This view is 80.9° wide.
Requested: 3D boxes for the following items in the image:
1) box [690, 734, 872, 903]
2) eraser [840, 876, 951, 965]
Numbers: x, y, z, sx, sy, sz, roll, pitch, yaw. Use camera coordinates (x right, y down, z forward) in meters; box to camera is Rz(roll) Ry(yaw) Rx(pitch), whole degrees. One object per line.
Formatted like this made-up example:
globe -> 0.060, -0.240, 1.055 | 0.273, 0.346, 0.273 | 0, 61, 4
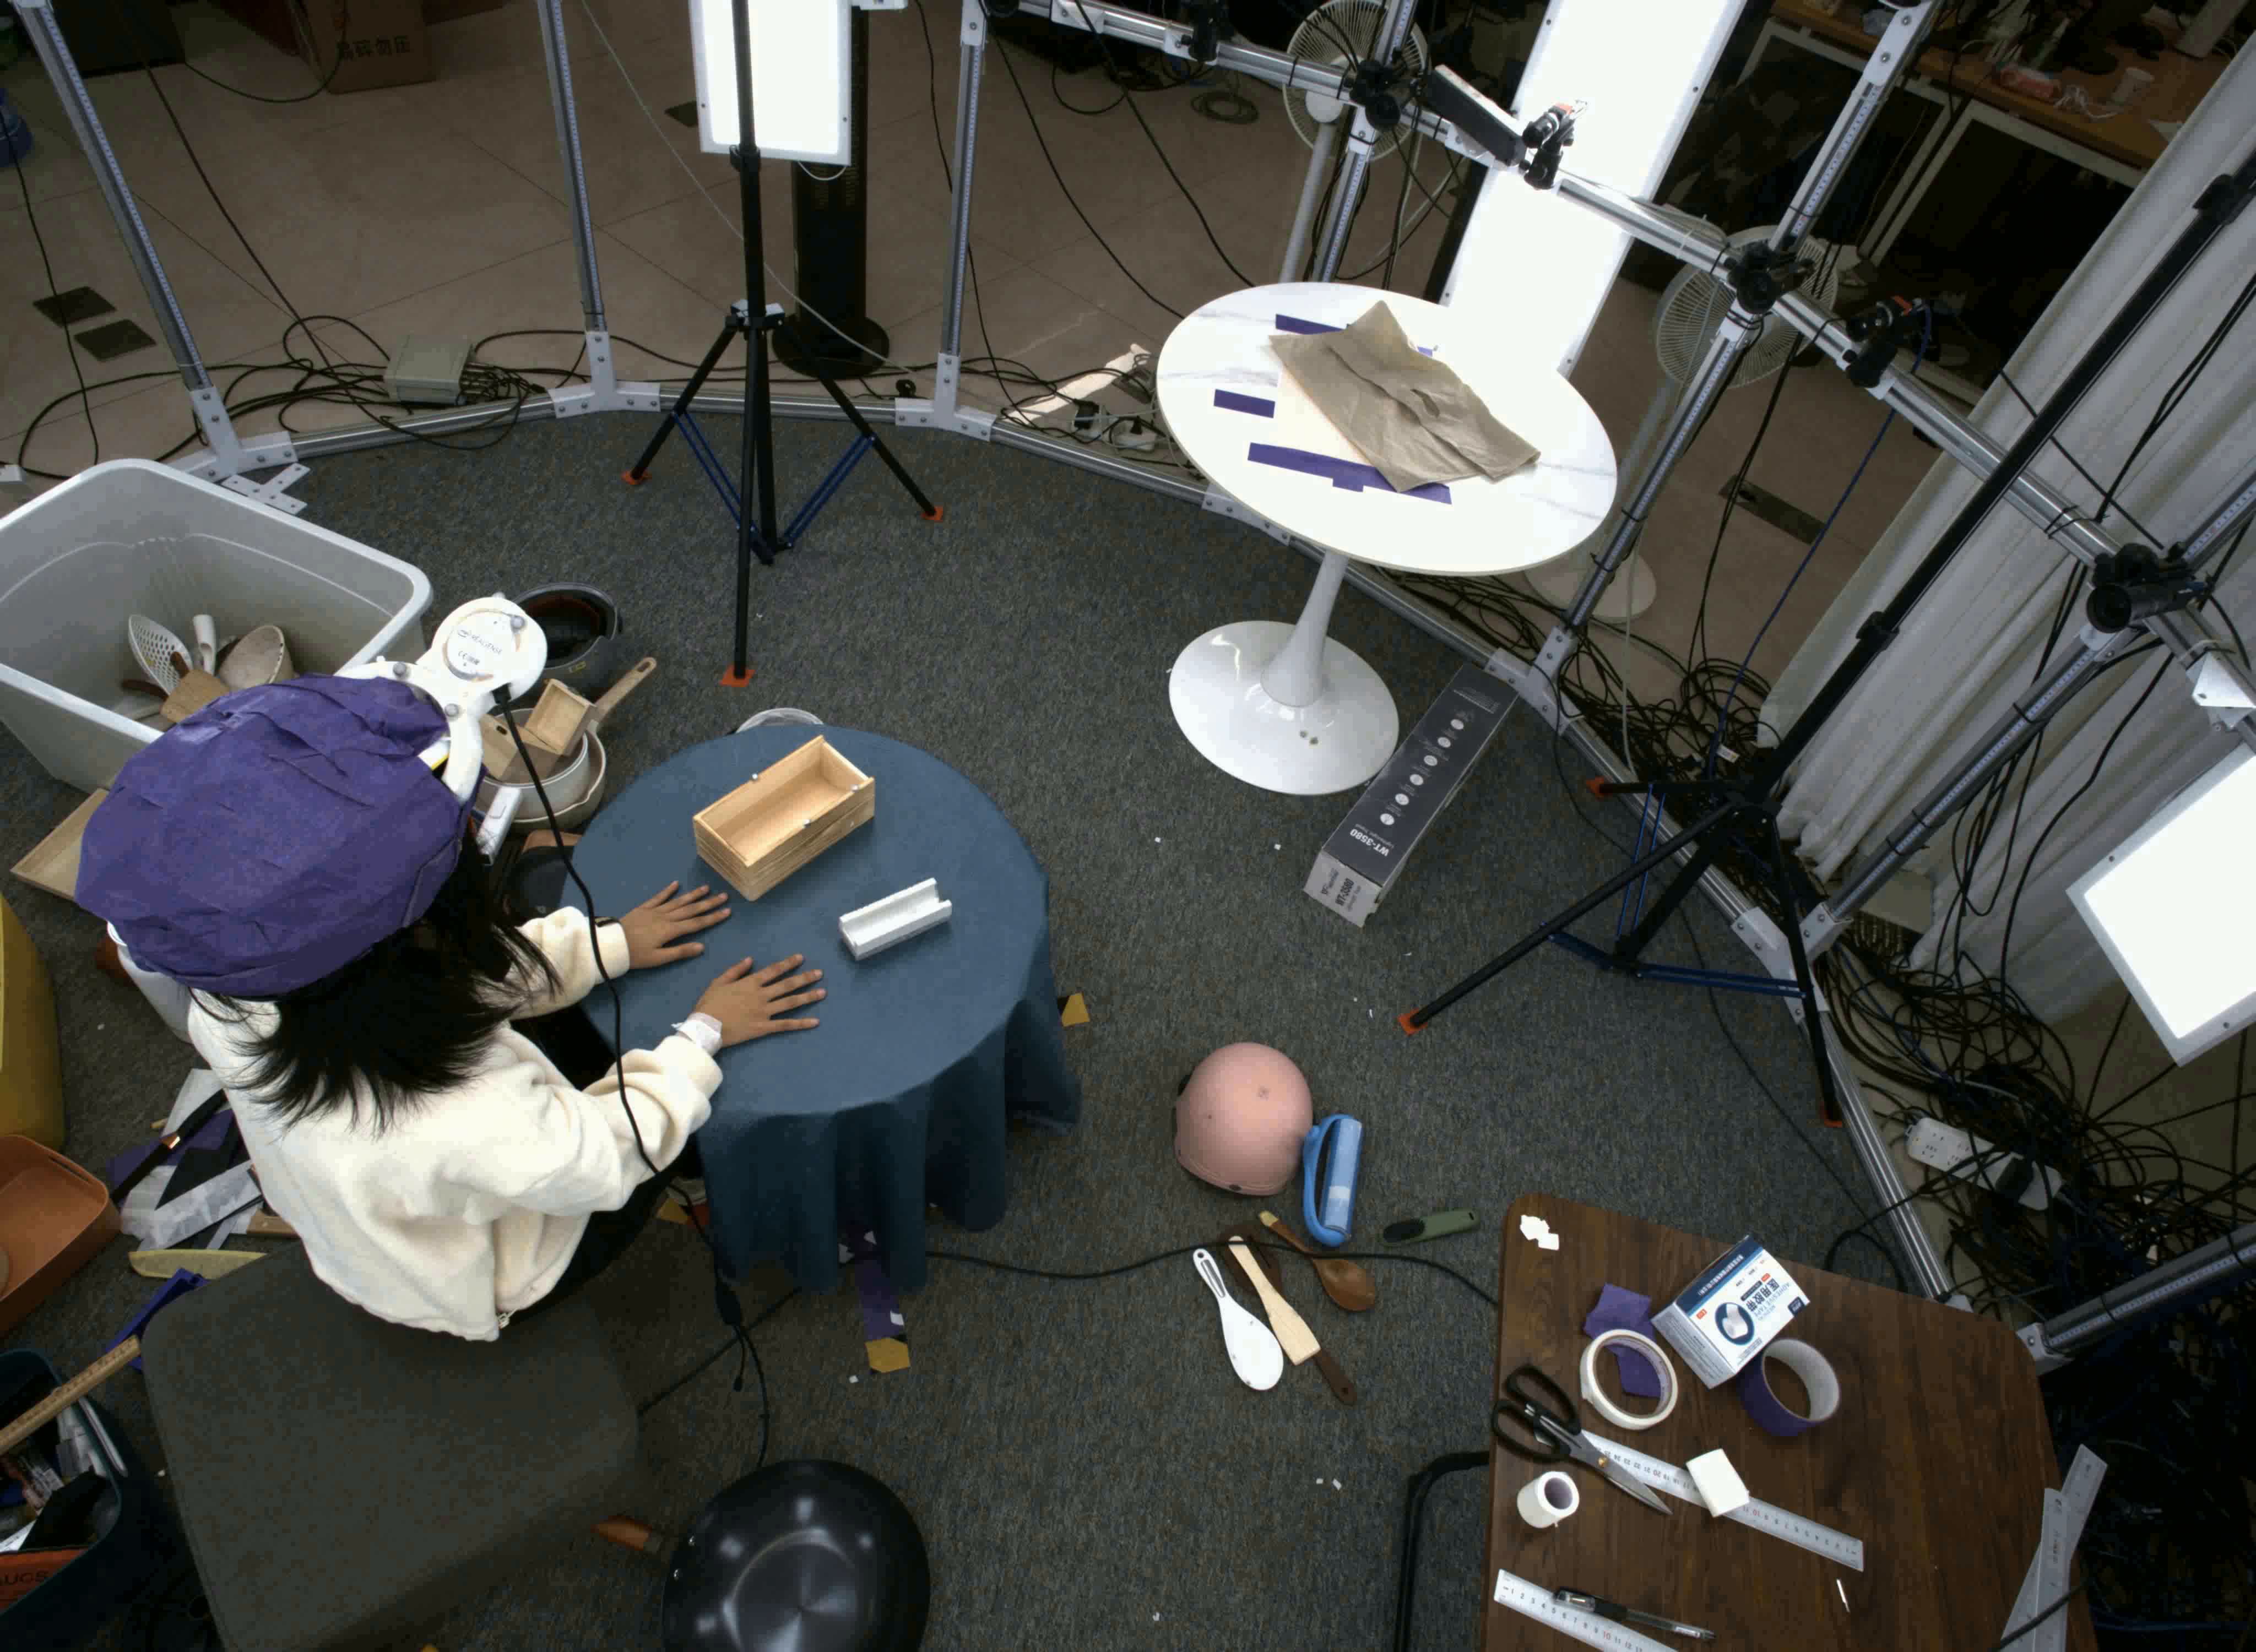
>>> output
box -> -0.445, -0.013, 1.672 | 0.105, 0.082, 0.211 | 37, 53, 16
eraser -> -0.292, 0.117, 1.636 | 0.135, 0.047, 0.048 | -27, 65, -31
